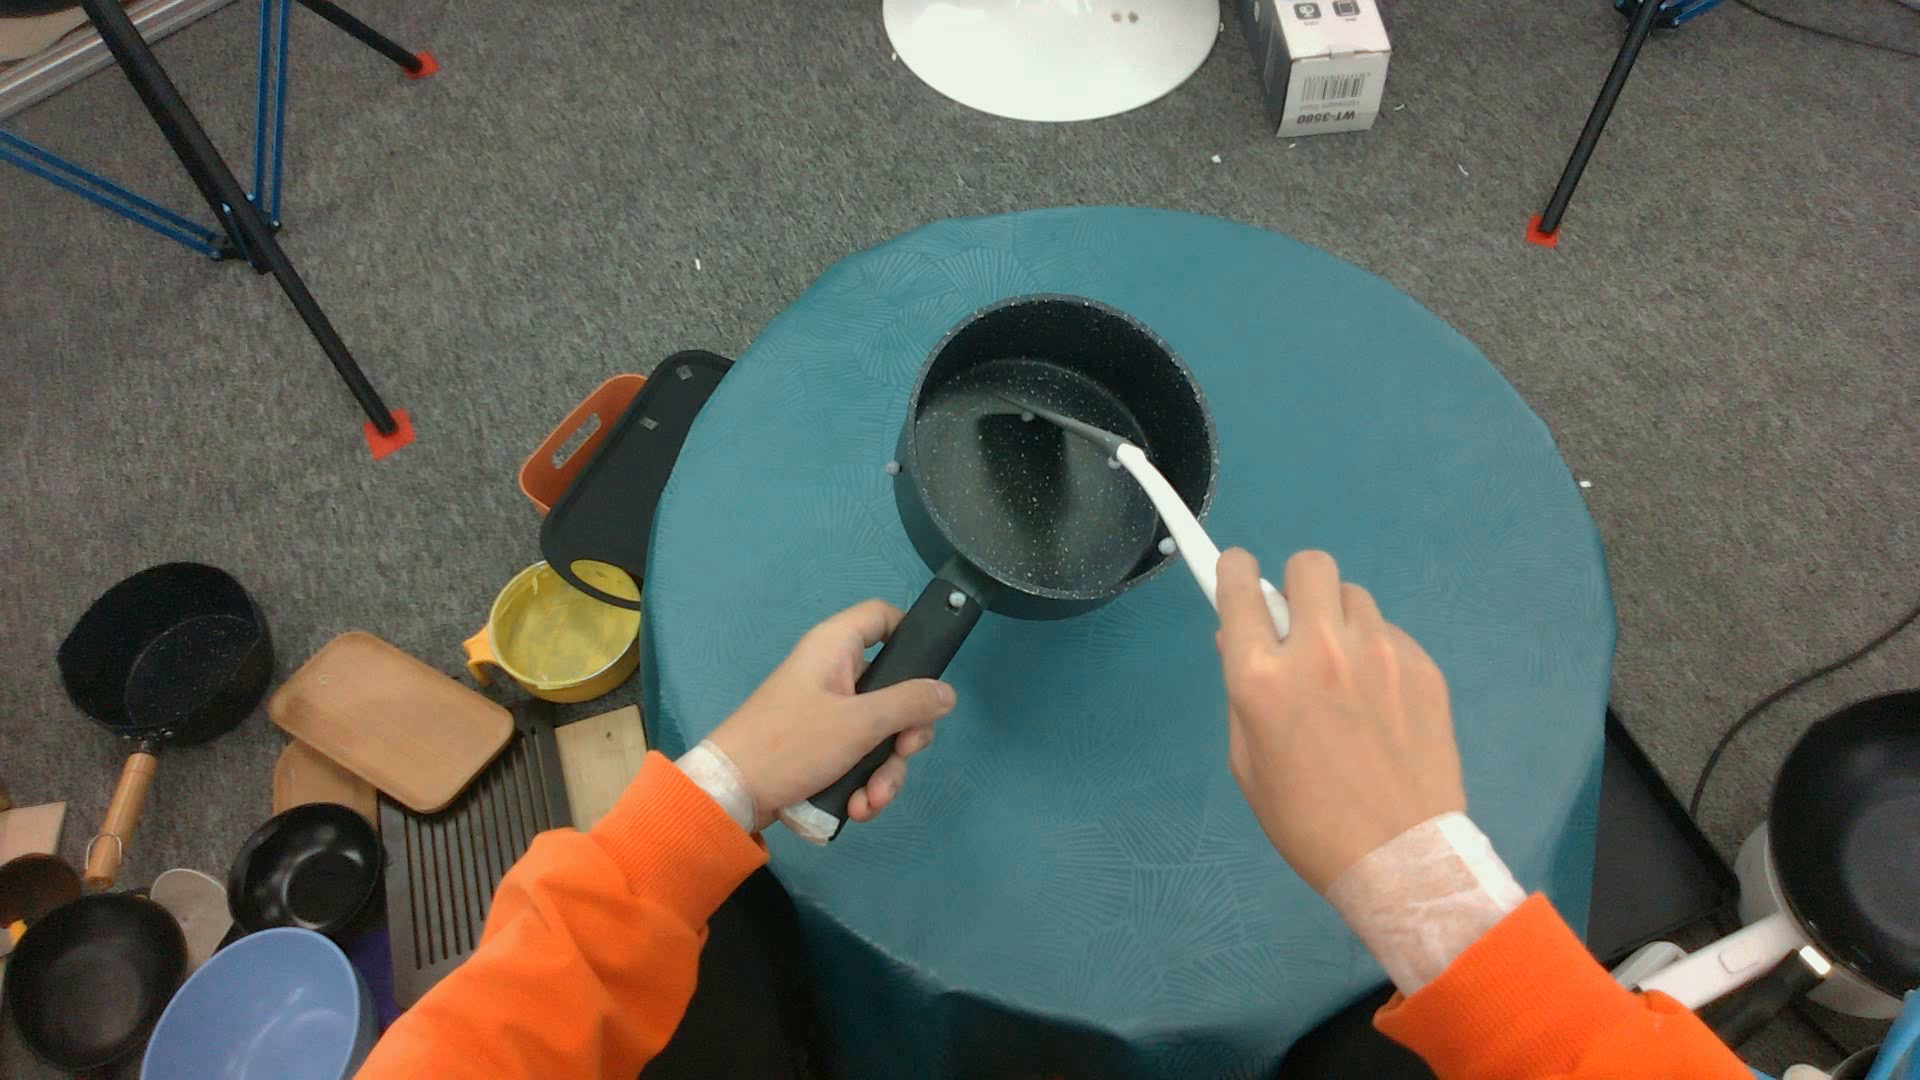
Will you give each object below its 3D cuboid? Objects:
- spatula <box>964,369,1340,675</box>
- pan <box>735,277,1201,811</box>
[{"bbox_3d":[0.085,-0.026,0.681,0.059,0.032,0.288,18,19,-36],"label":"spatula"},{"bbox_3d":[-0.005,0.008,0.725,0.172,0.086,0.330,37,67,1],"label":"pan"}]
